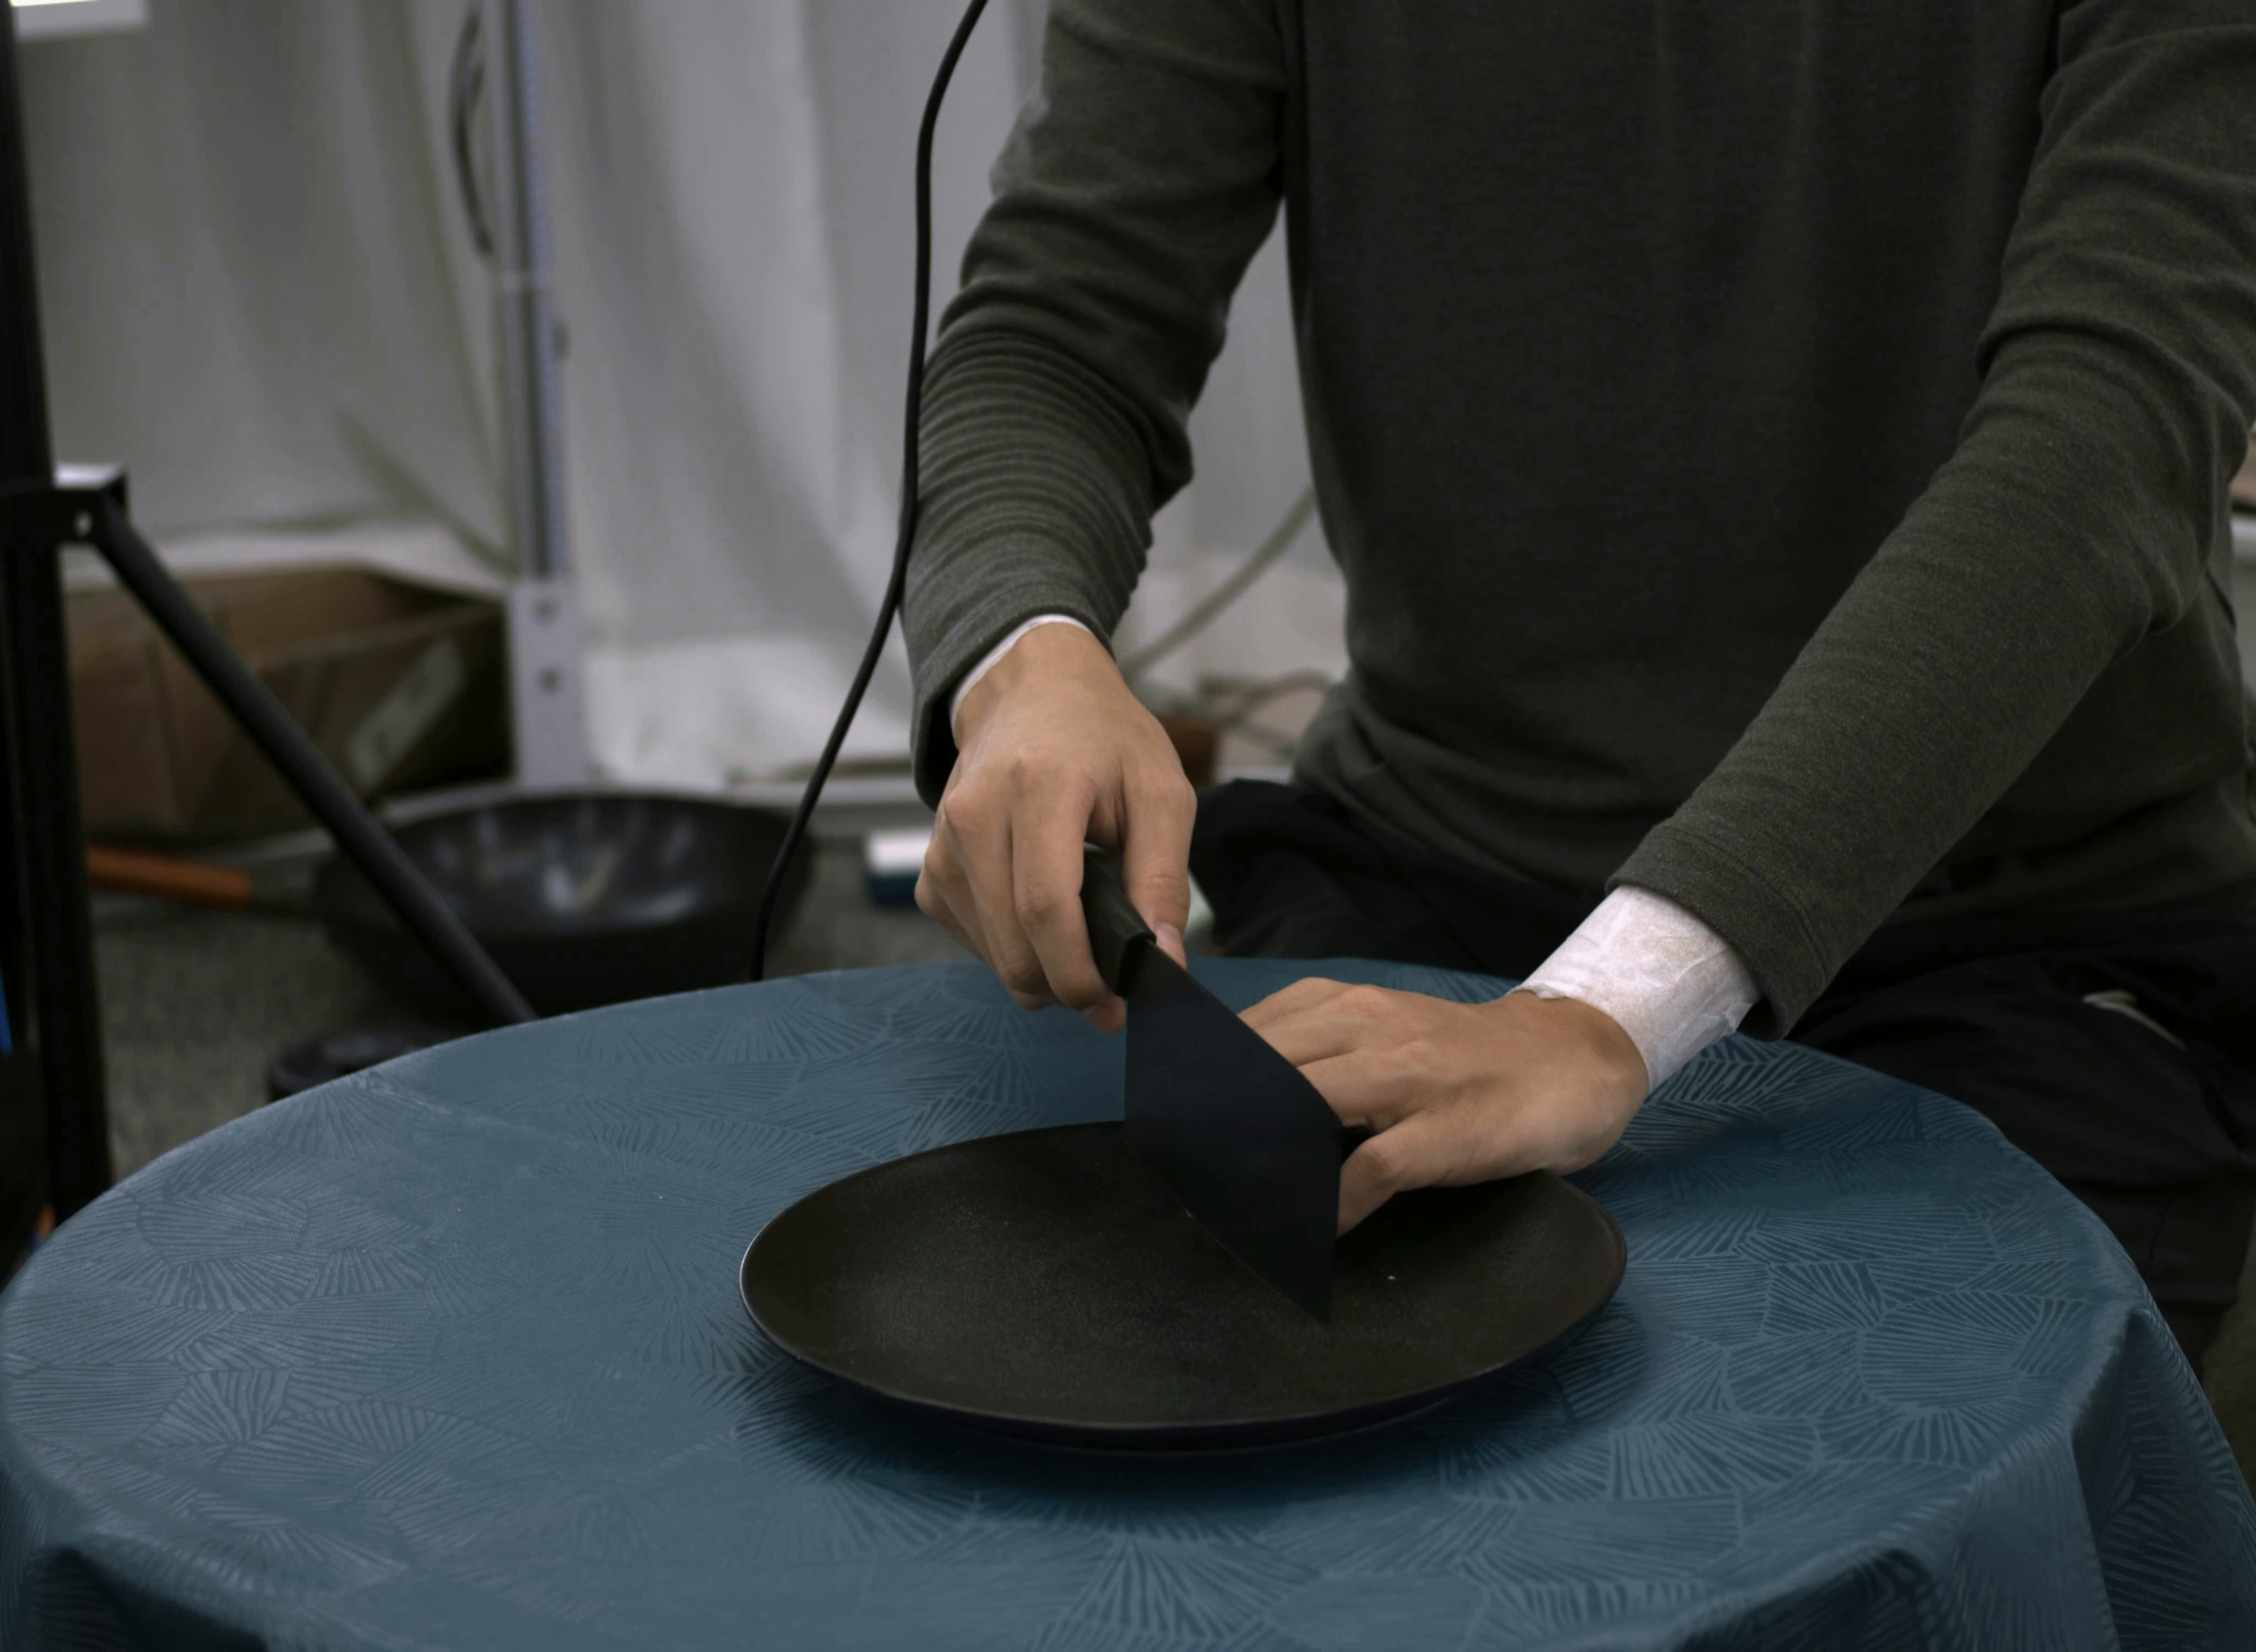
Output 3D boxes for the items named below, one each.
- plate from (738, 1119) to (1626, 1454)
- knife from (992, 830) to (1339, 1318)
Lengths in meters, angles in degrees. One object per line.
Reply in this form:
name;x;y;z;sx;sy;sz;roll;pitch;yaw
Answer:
plate;0.015;0.128;1.449;0.243;0.023;0.245;-3;16;-1
knife;0.010;0.062;1.510;0.020;0.081;0.307;0;18;-17
